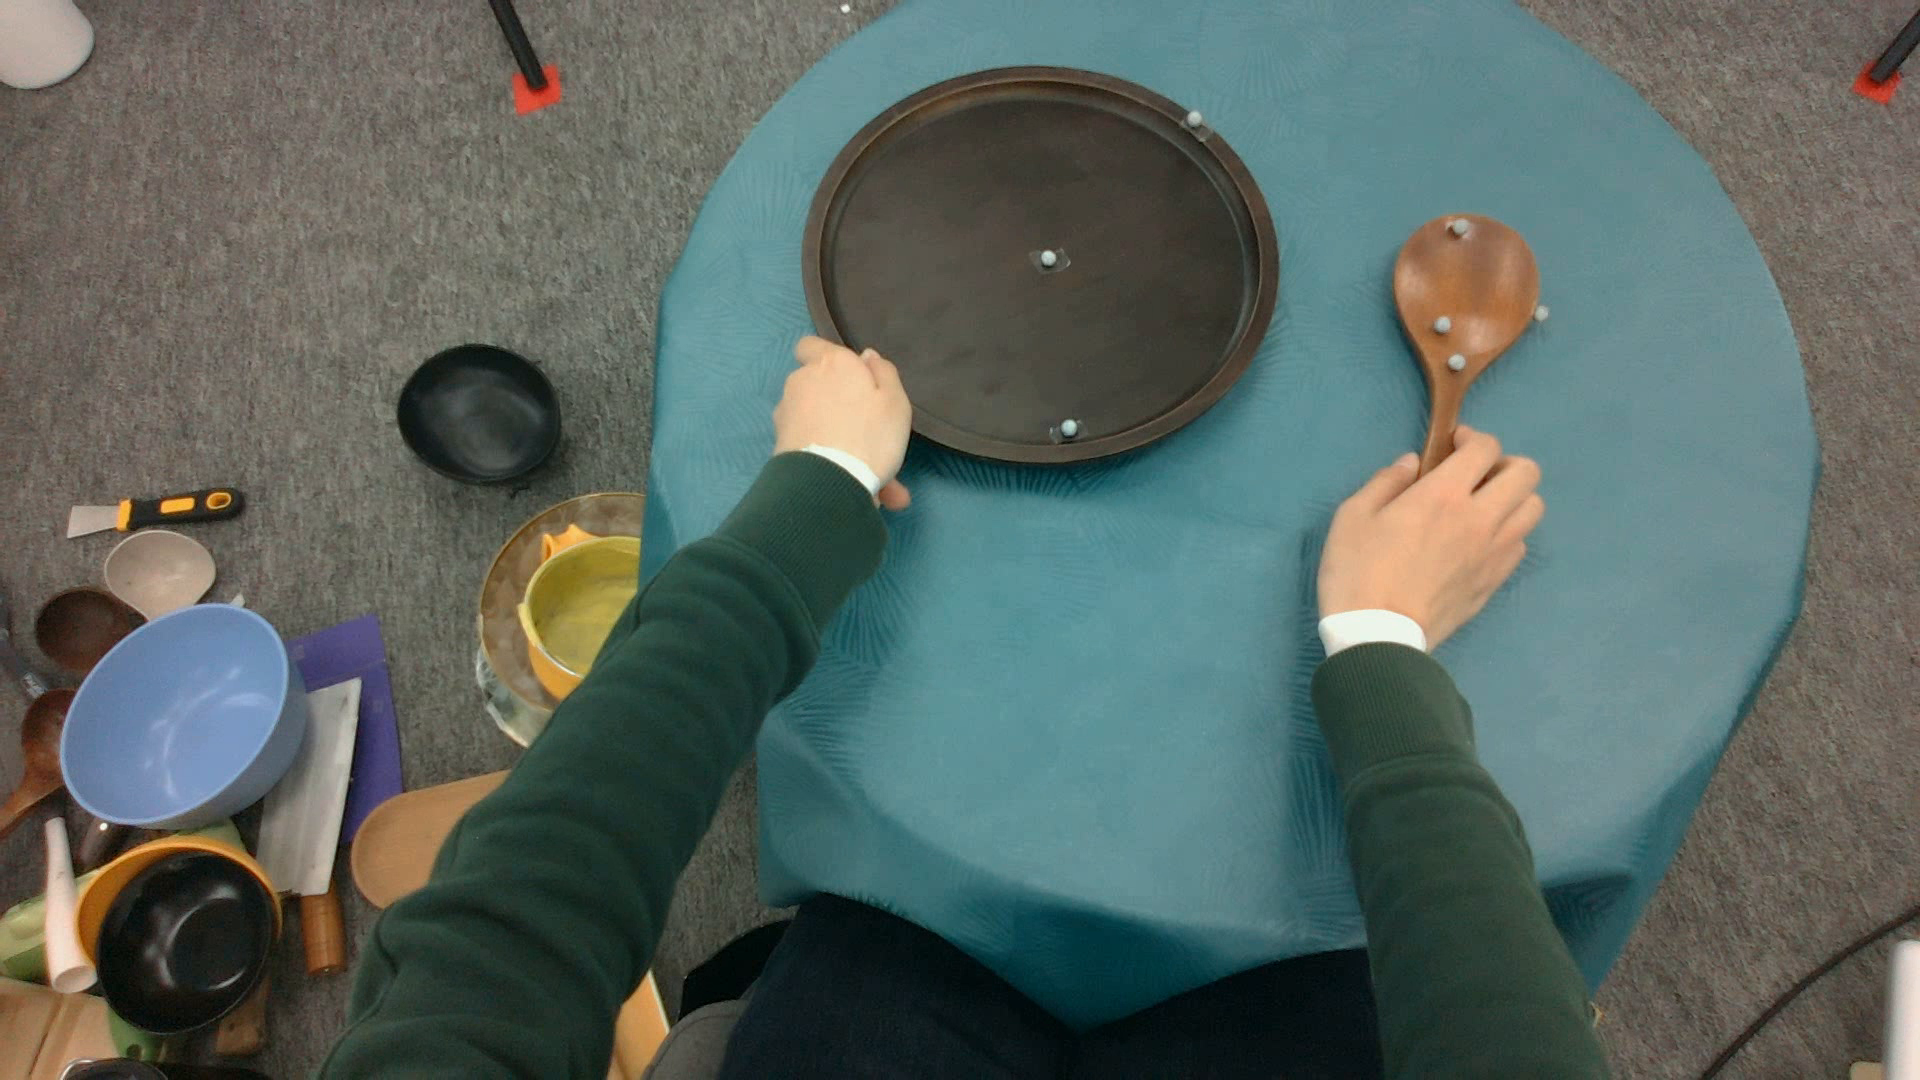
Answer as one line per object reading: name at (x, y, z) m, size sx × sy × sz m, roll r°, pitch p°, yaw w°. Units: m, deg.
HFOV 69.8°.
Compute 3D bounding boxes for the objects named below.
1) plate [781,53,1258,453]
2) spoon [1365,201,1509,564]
plate at (0.031, -0.157, 0.736) m, size 0.255 × 0.029 × 0.255 m, roll 0°, pitch 65°, yaw 0°
spoon at (0.237, -0.085, 0.704) m, size 0.075 × 0.017 × 0.216 m, roll 13°, pitch 65°, yaw 6°
